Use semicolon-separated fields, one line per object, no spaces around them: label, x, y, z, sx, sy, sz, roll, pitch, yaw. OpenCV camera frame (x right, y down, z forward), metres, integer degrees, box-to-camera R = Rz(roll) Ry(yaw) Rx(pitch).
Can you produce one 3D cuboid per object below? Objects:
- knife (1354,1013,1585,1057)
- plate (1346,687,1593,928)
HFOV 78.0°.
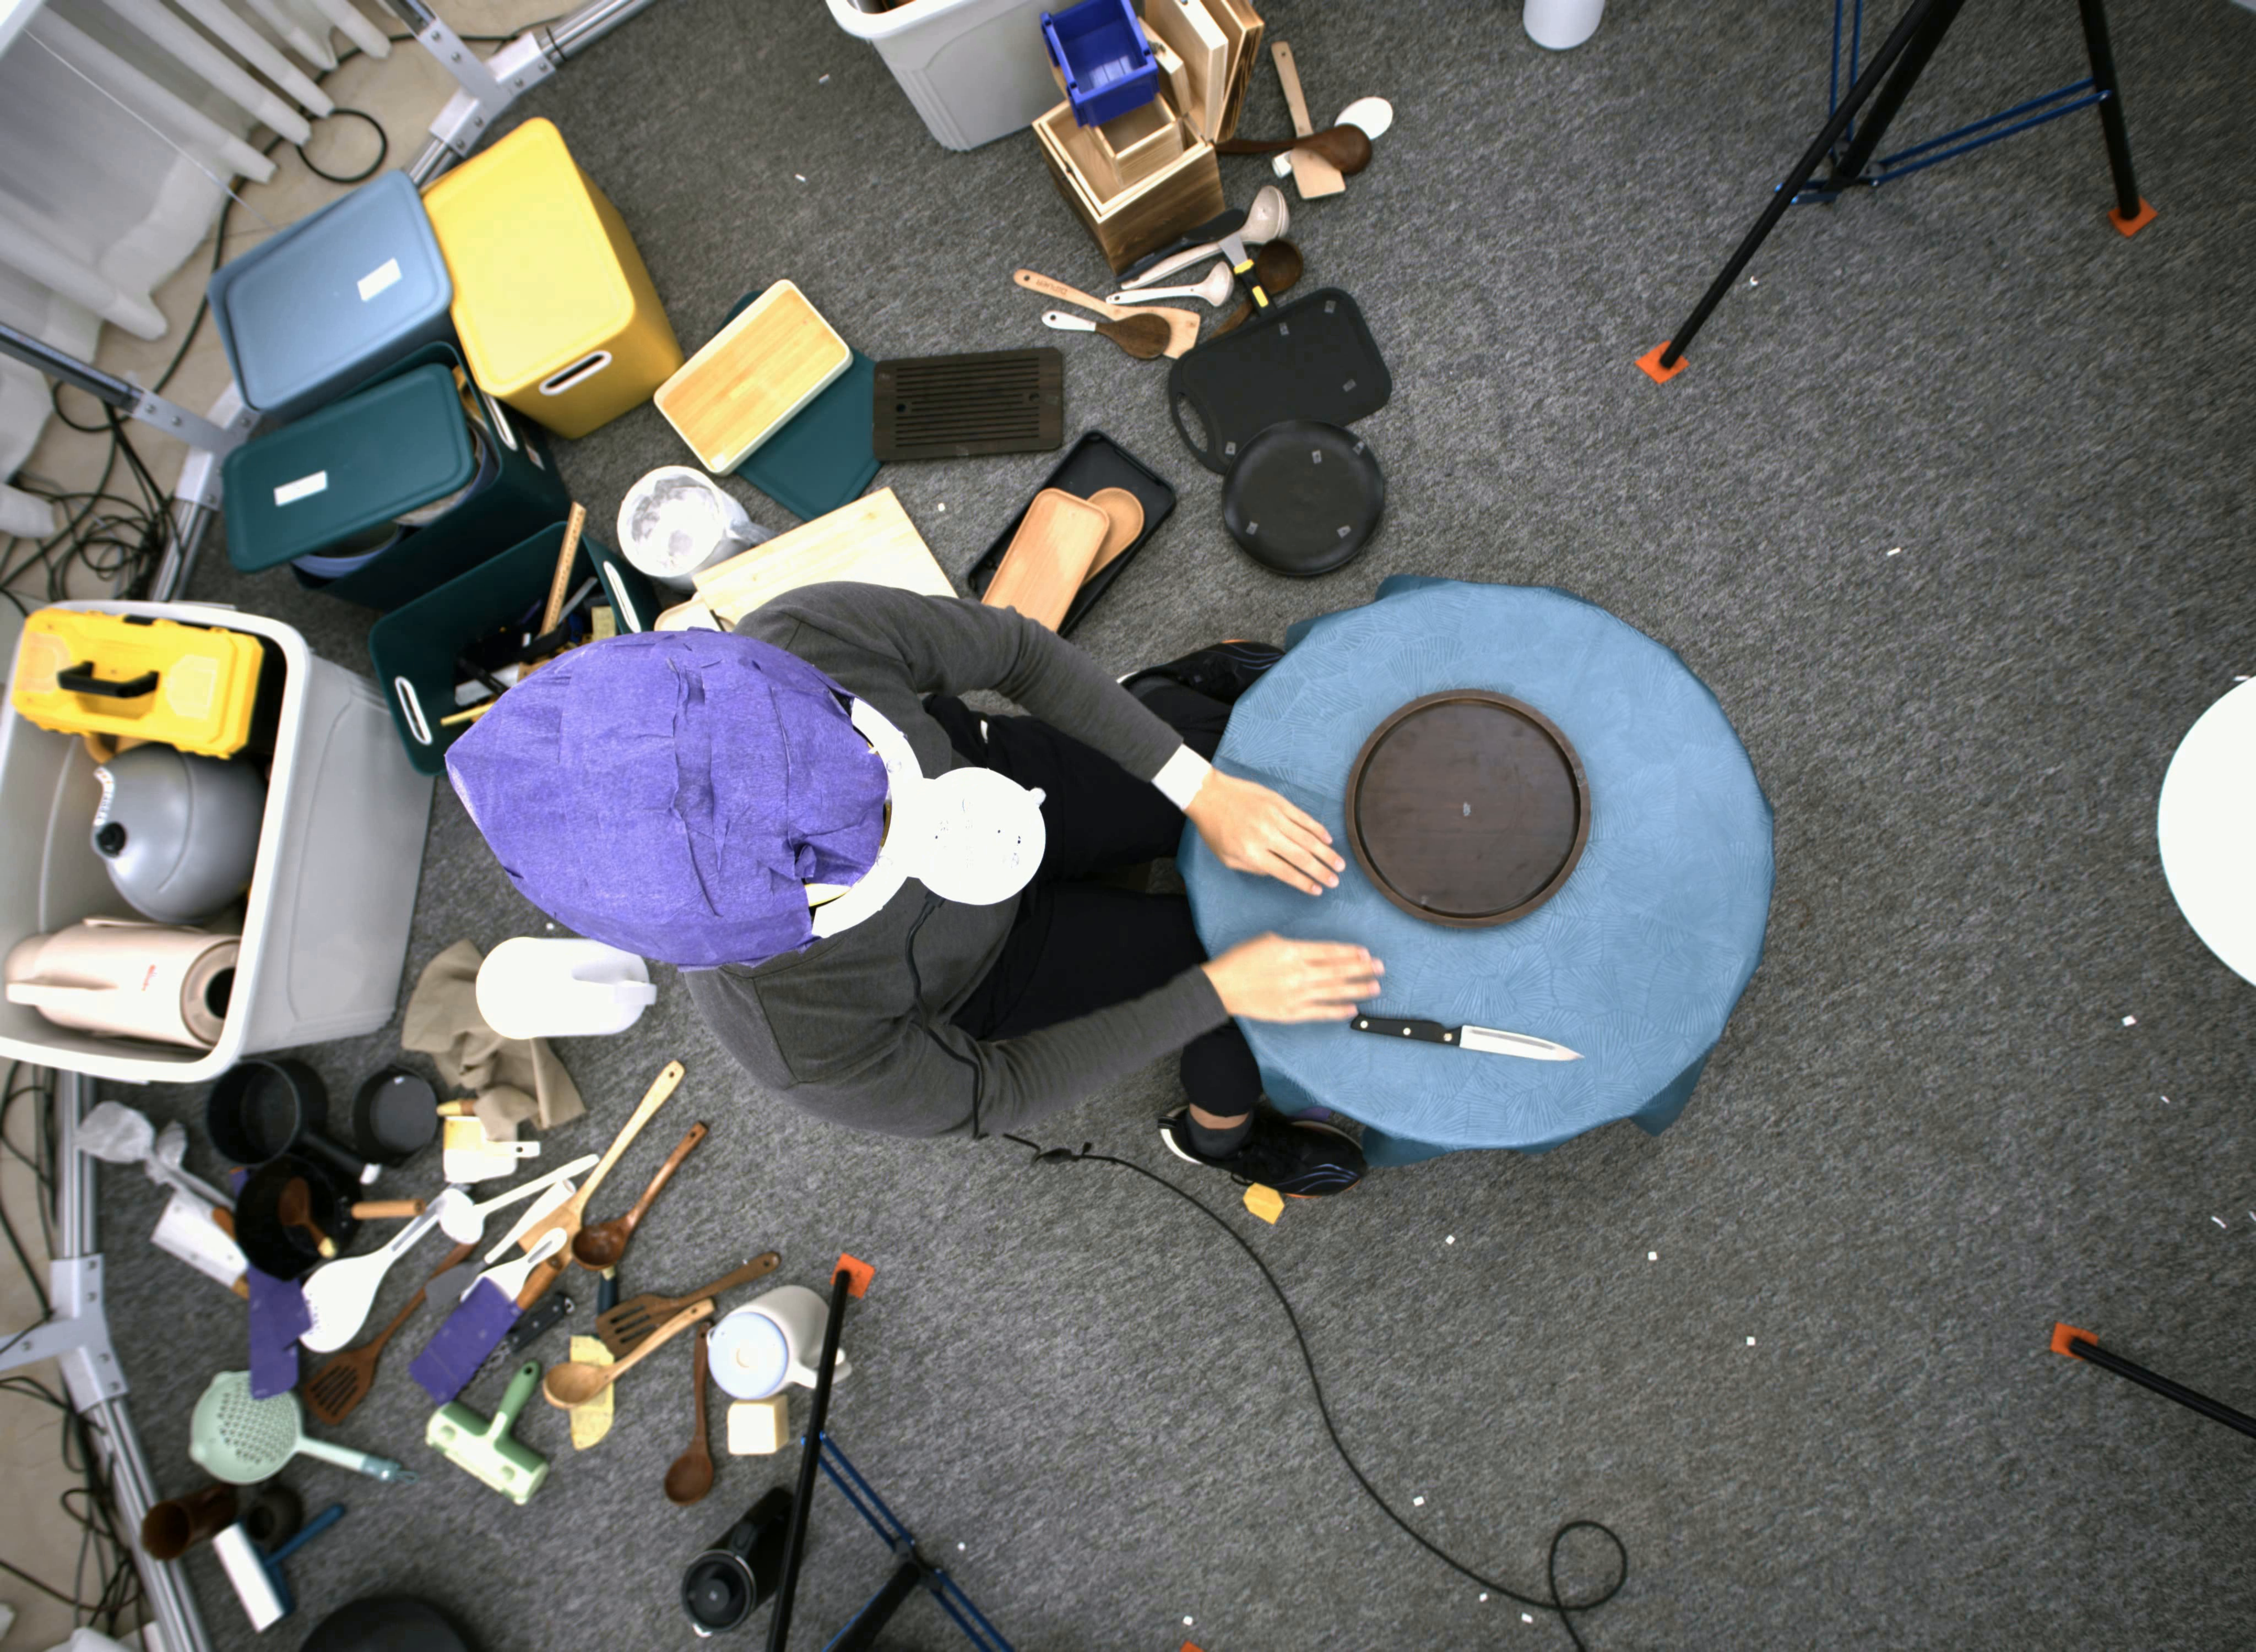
knife;0.353;0.218;1.431;0.239;0.016;0.024;7;82;8
plate;0.355;-0.021;1.438;0.256;0.029;0.253;-1;86;10
